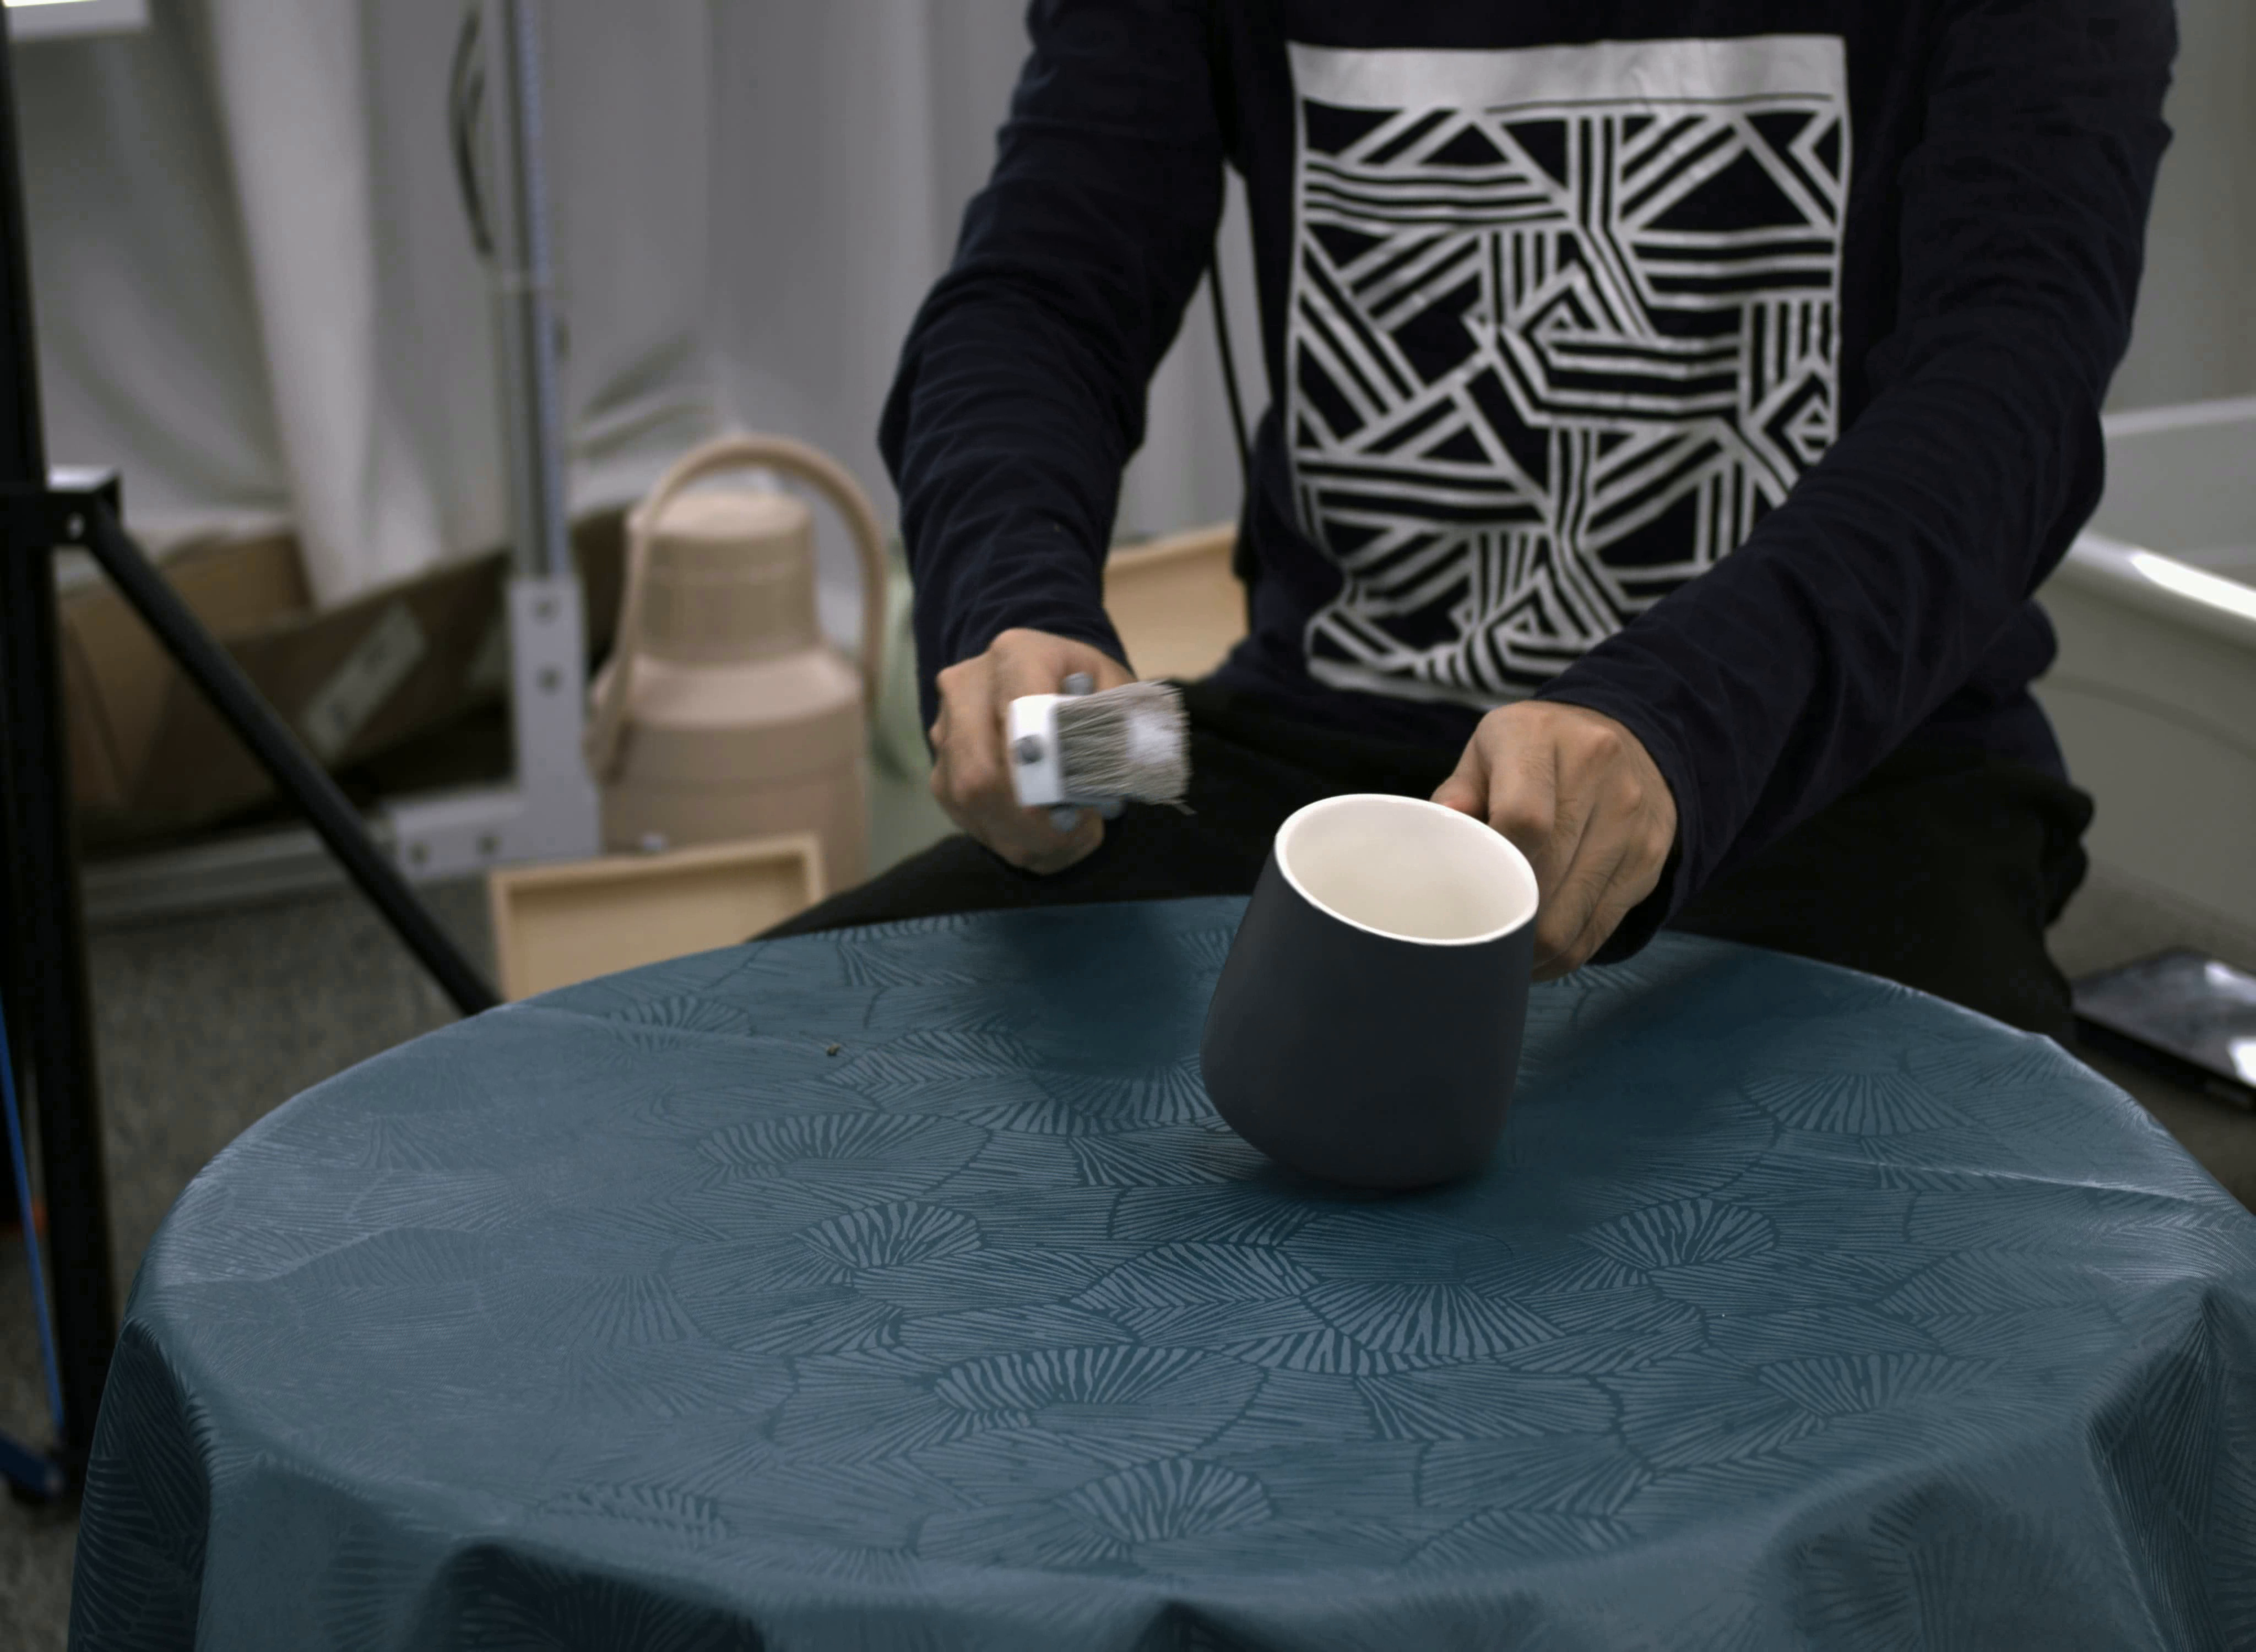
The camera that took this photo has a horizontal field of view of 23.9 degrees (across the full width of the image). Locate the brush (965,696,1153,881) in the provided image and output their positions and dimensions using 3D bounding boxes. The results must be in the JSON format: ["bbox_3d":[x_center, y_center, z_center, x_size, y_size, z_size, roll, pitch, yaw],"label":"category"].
[{"bbox_3d":[-0.012,-0.009,1.662,0.050,0.034,0.242,-13,-7,4],"label":"brush"}]

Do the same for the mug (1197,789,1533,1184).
[{"bbox_3d":[0.079,0.042,1.570,0.095,0.090,0.121,24,34,19],"label":"mug"}]
